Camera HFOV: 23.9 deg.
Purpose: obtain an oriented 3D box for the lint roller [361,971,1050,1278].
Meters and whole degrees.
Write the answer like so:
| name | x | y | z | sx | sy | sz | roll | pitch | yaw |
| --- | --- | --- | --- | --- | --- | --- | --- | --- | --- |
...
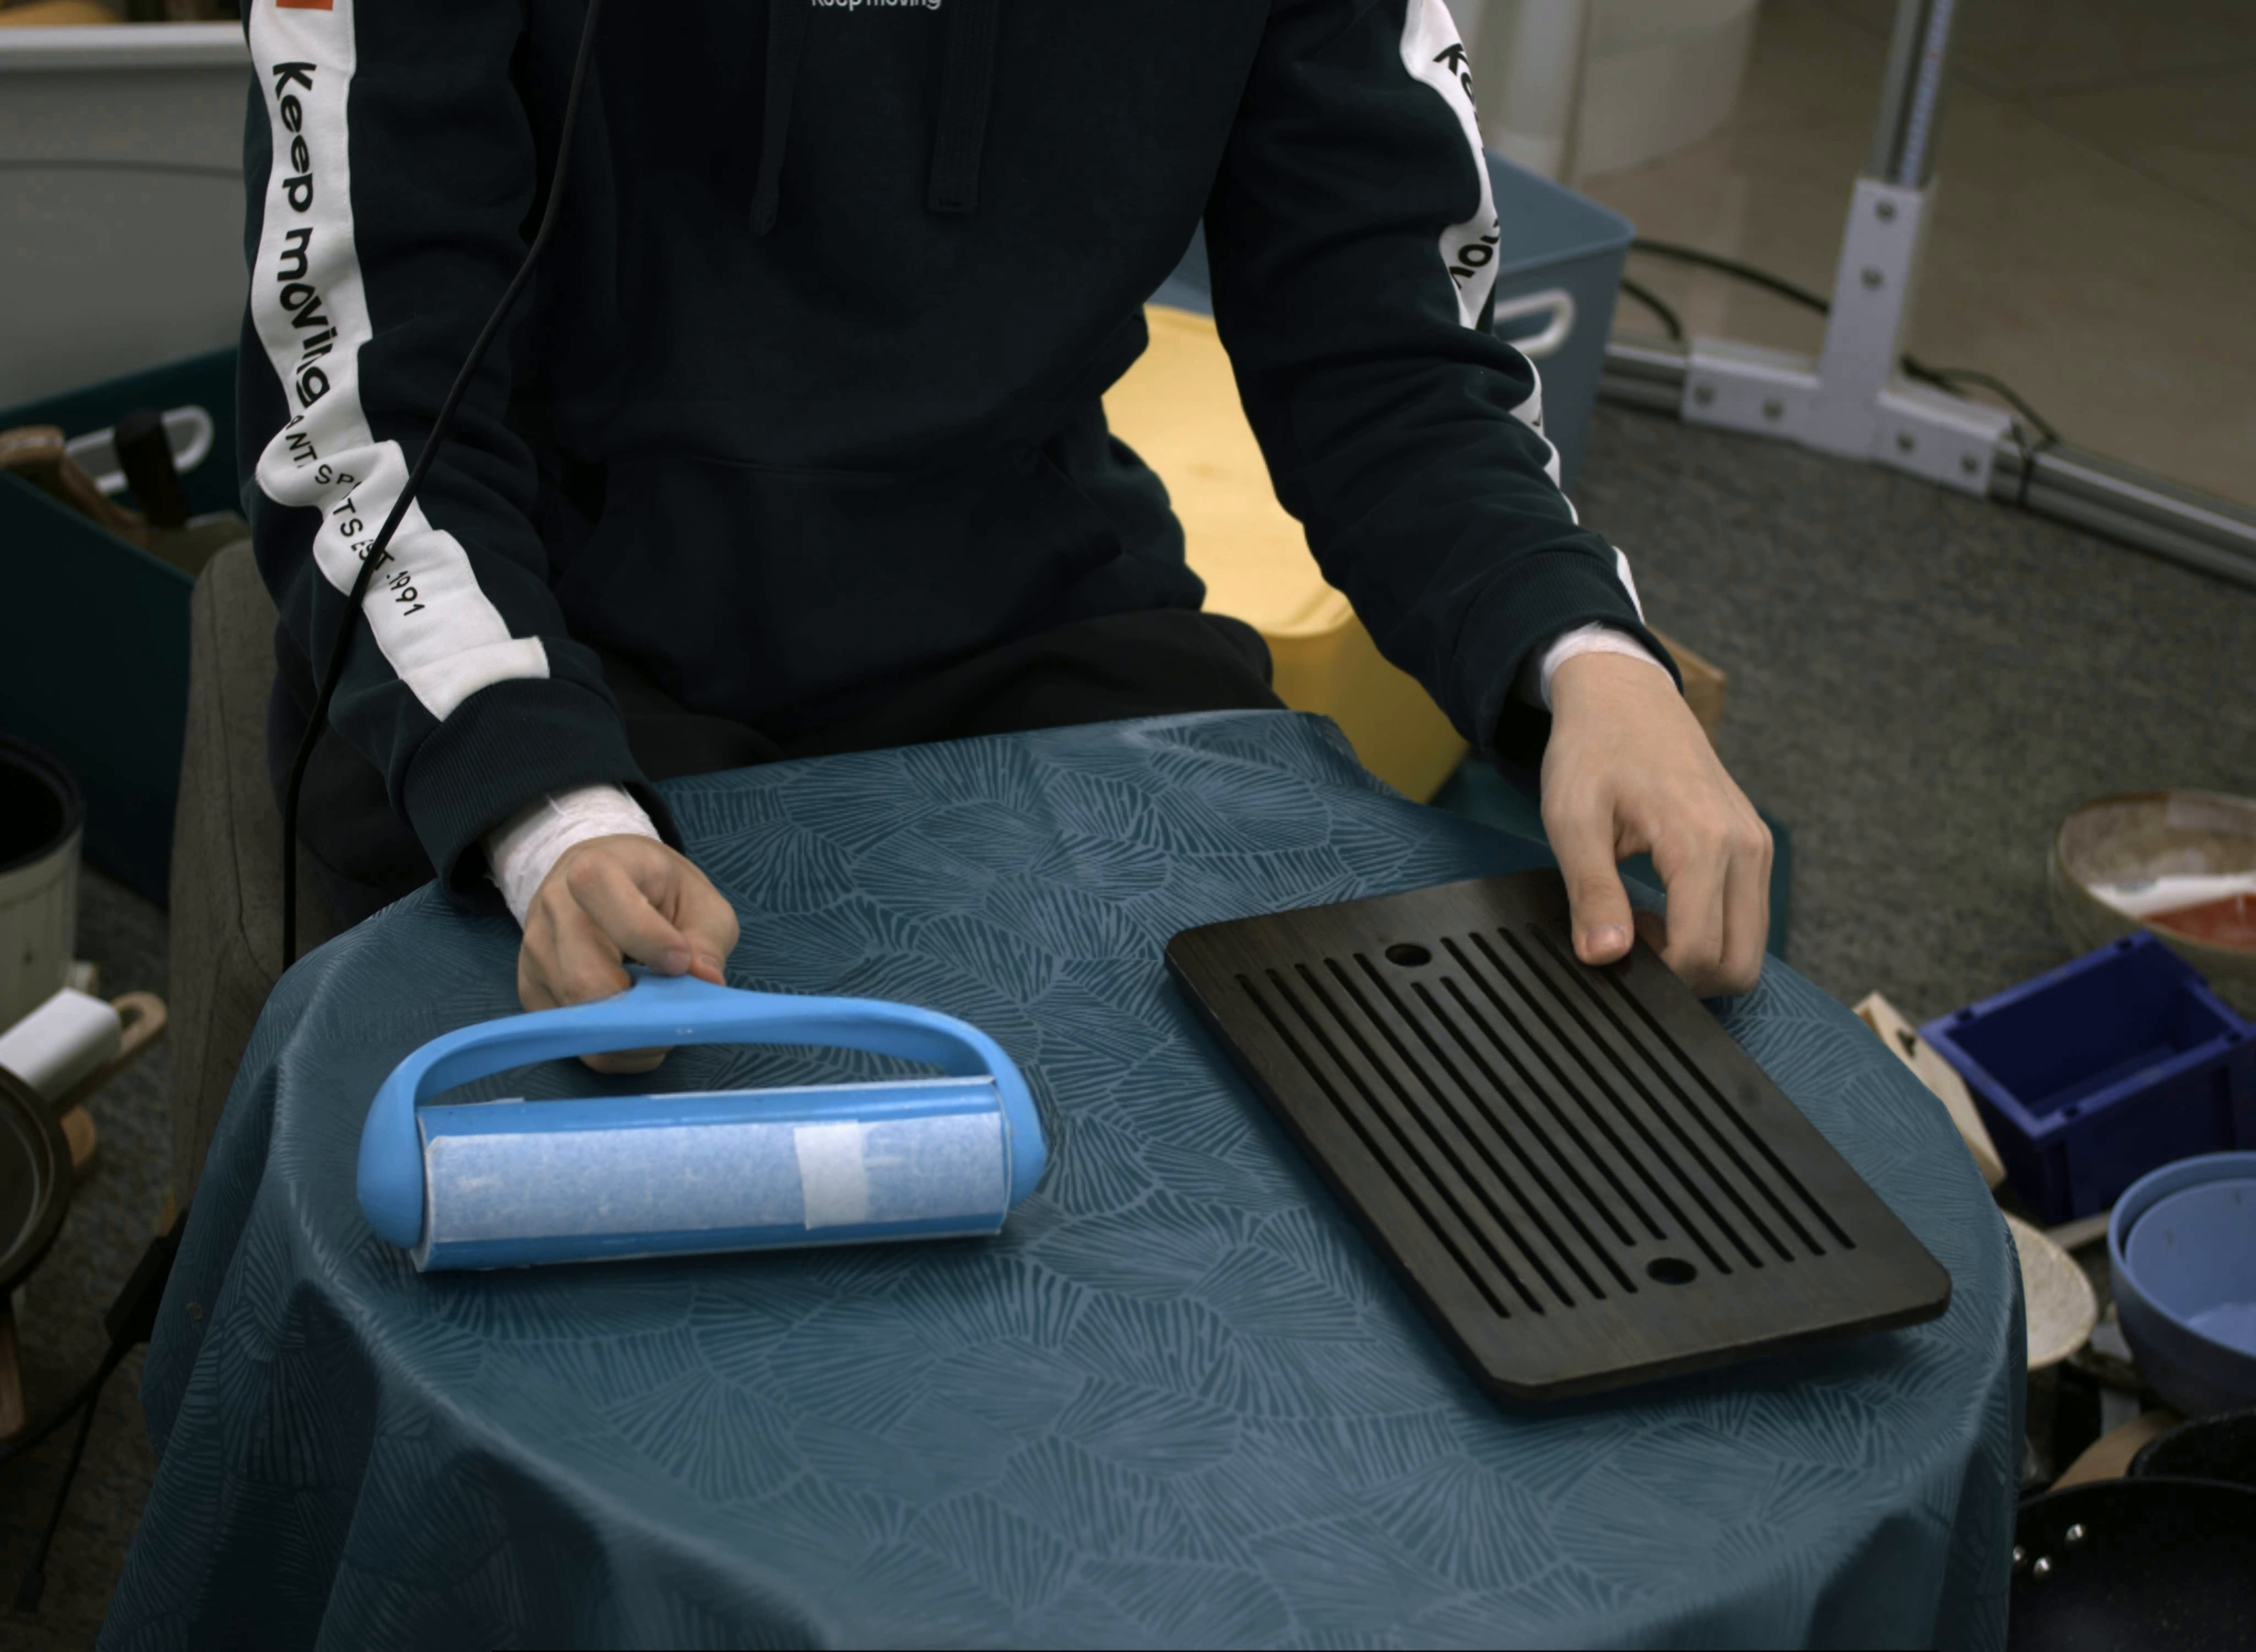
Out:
| name | x | y | z | sx | sy | sz | roll | pitch | yaw |
| --- | --- | --- | --- | --- | --- | --- | --- | --- | --- |
| lint roller | -0.155 | 0.083 | 1.778 | 0.227 | 0.067 | 0.182 | -5 | 30 | -18 |

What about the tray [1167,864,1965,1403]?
| name | x | y | z | sx | sy | sz | roll | pitch | yaw |
| --- | --- | --- | --- | --- | --- | --- | --- | --- | --- |
| tray | 0.144 | 0.102 | 1.837 | 0.169 | 0.018 | 0.309 | -10 | 31 | -19 |
